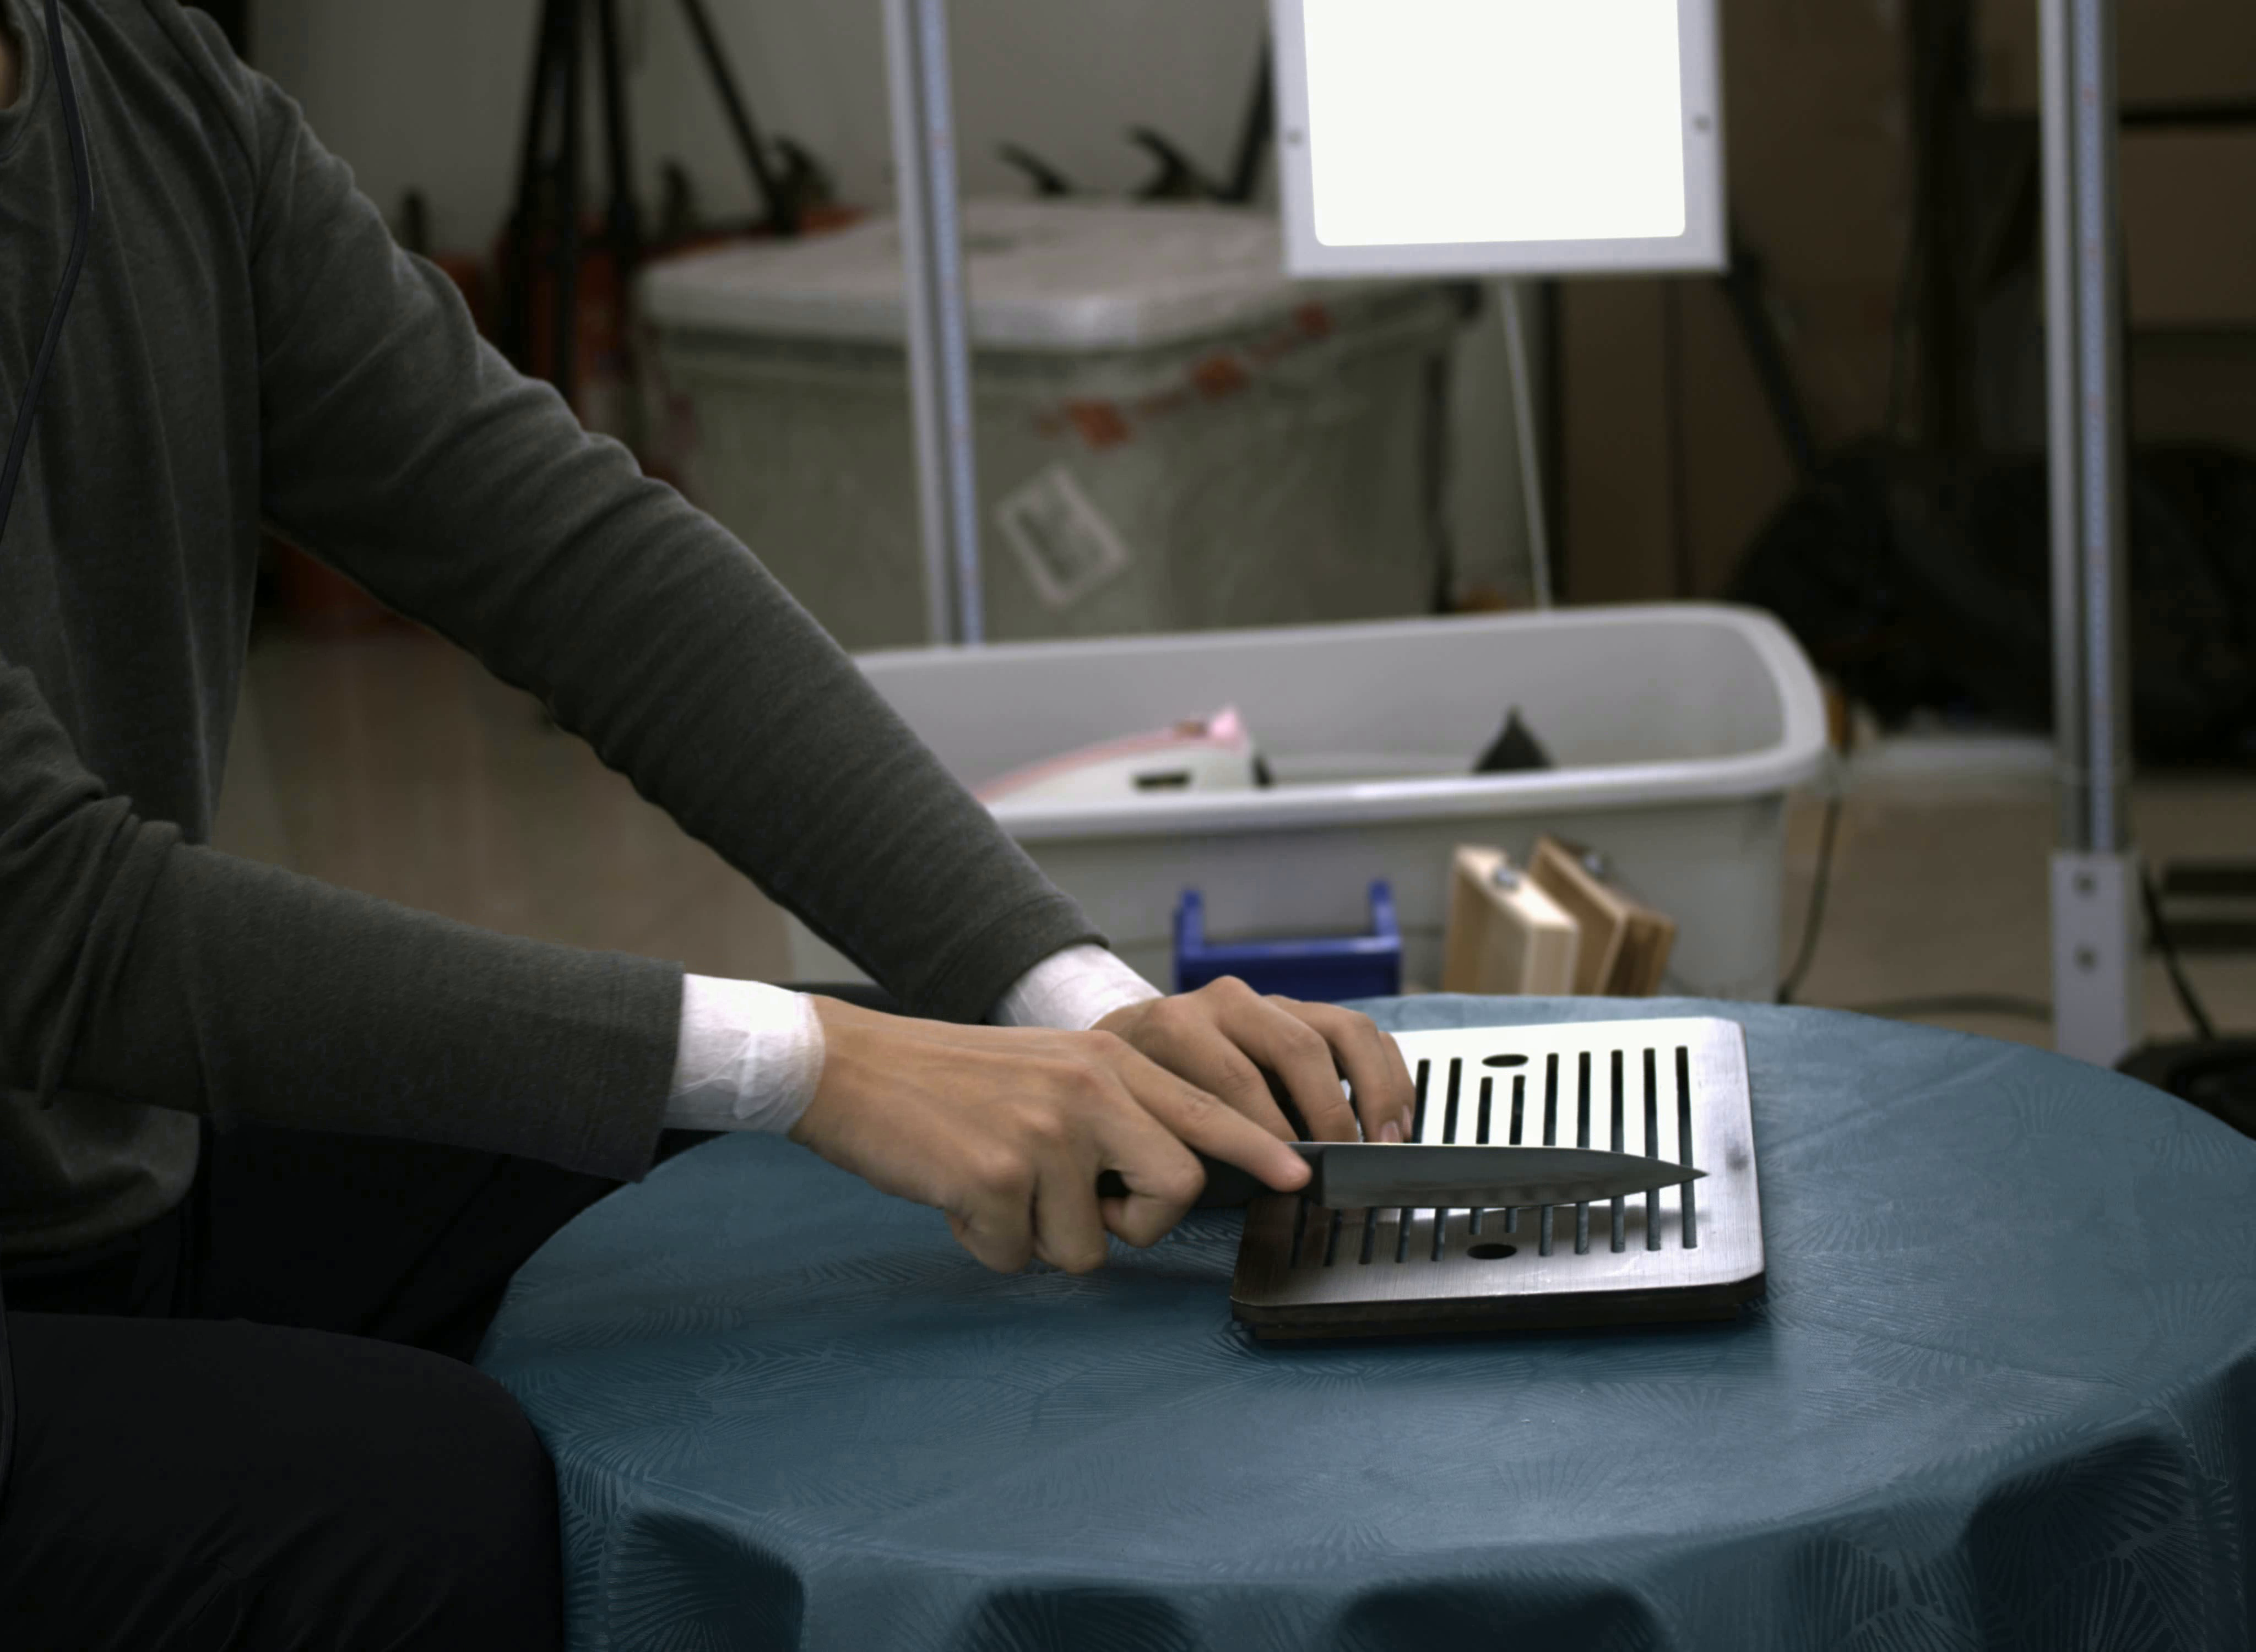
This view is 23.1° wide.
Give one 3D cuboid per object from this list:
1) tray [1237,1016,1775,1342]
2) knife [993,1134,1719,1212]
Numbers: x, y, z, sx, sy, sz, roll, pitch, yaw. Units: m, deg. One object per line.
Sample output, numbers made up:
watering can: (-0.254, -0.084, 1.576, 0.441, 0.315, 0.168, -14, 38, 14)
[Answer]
tray: (0.131, 0.117, 1.857, 0.171, 0.019, 0.304, -4, 13, 7)
knife: (0.075, 0.113, 1.798, 0.238, 0.024, 0.016, 1, 12, 6)
